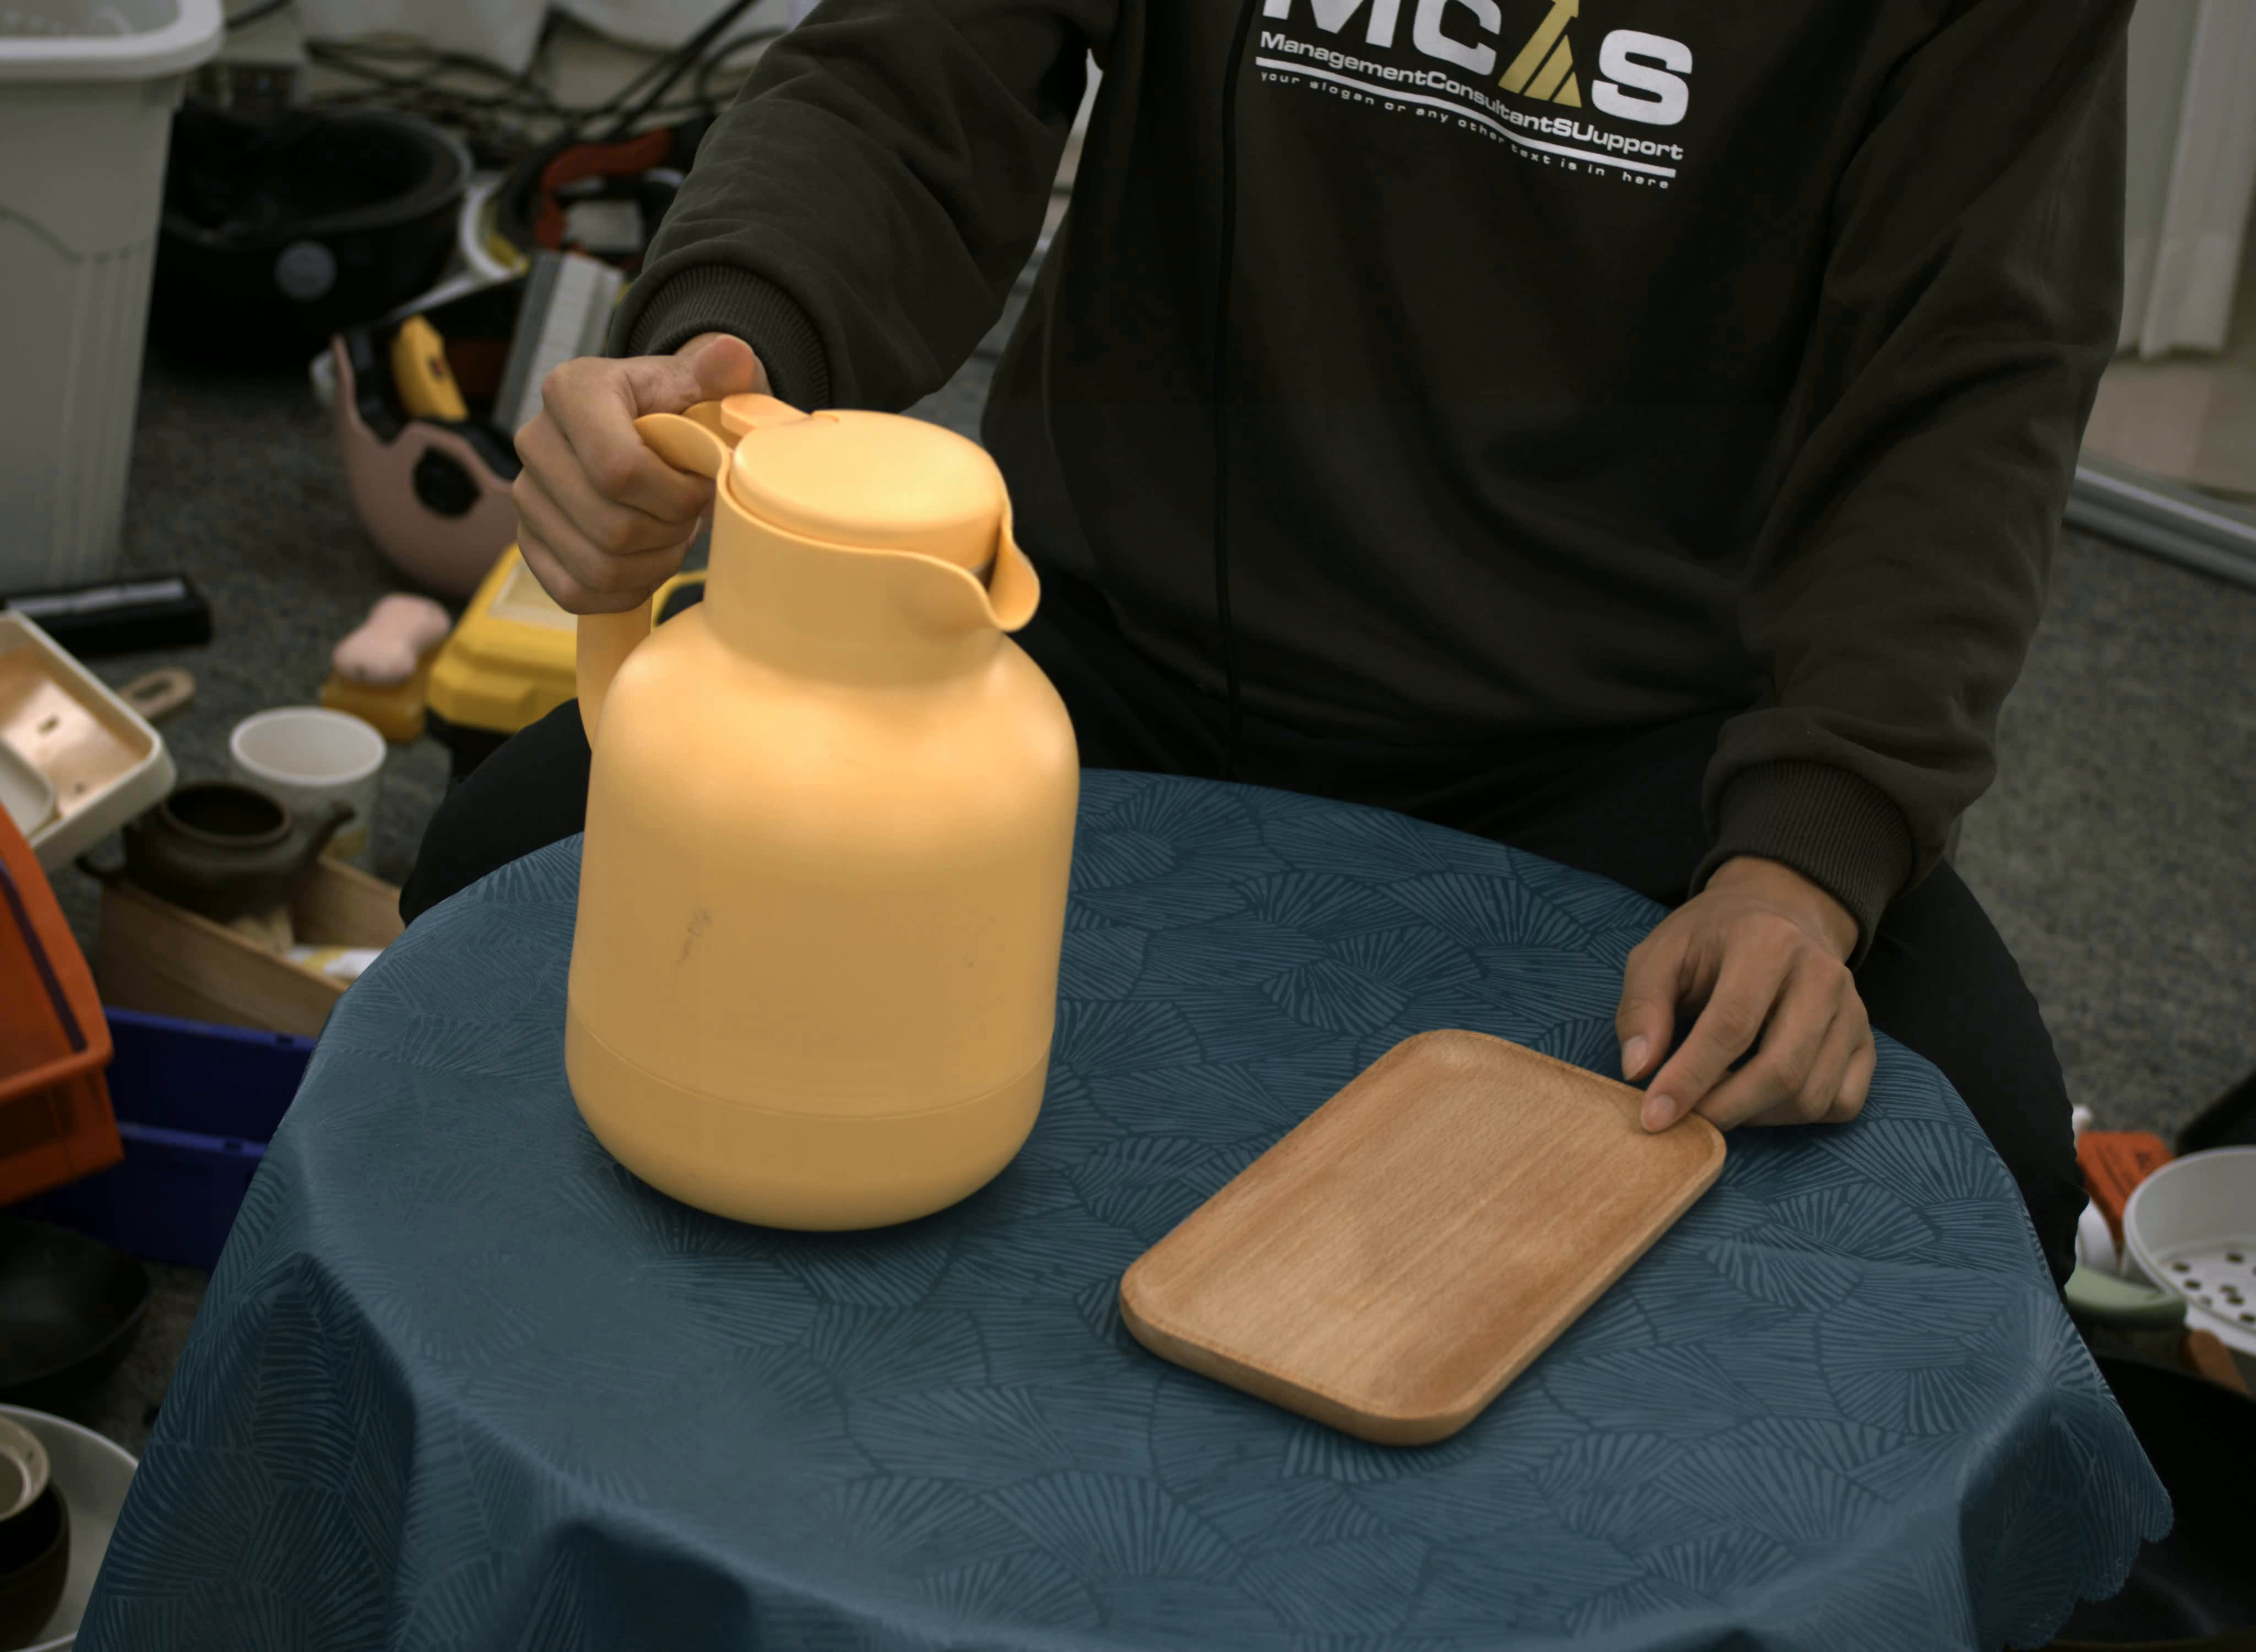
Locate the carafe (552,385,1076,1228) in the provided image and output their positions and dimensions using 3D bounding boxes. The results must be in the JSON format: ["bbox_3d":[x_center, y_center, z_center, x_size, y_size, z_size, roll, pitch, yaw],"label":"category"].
[{"bbox_3d":[-0.110,-0.016,1.766,0.162,0.260,0.204,-13,34,-41],"label":"carafe"}]

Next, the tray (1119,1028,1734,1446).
[{"bbox_3d":[0.103,0.136,1.790,0.131,0.023,0.250,23,30,24],"label":"tray"}]
